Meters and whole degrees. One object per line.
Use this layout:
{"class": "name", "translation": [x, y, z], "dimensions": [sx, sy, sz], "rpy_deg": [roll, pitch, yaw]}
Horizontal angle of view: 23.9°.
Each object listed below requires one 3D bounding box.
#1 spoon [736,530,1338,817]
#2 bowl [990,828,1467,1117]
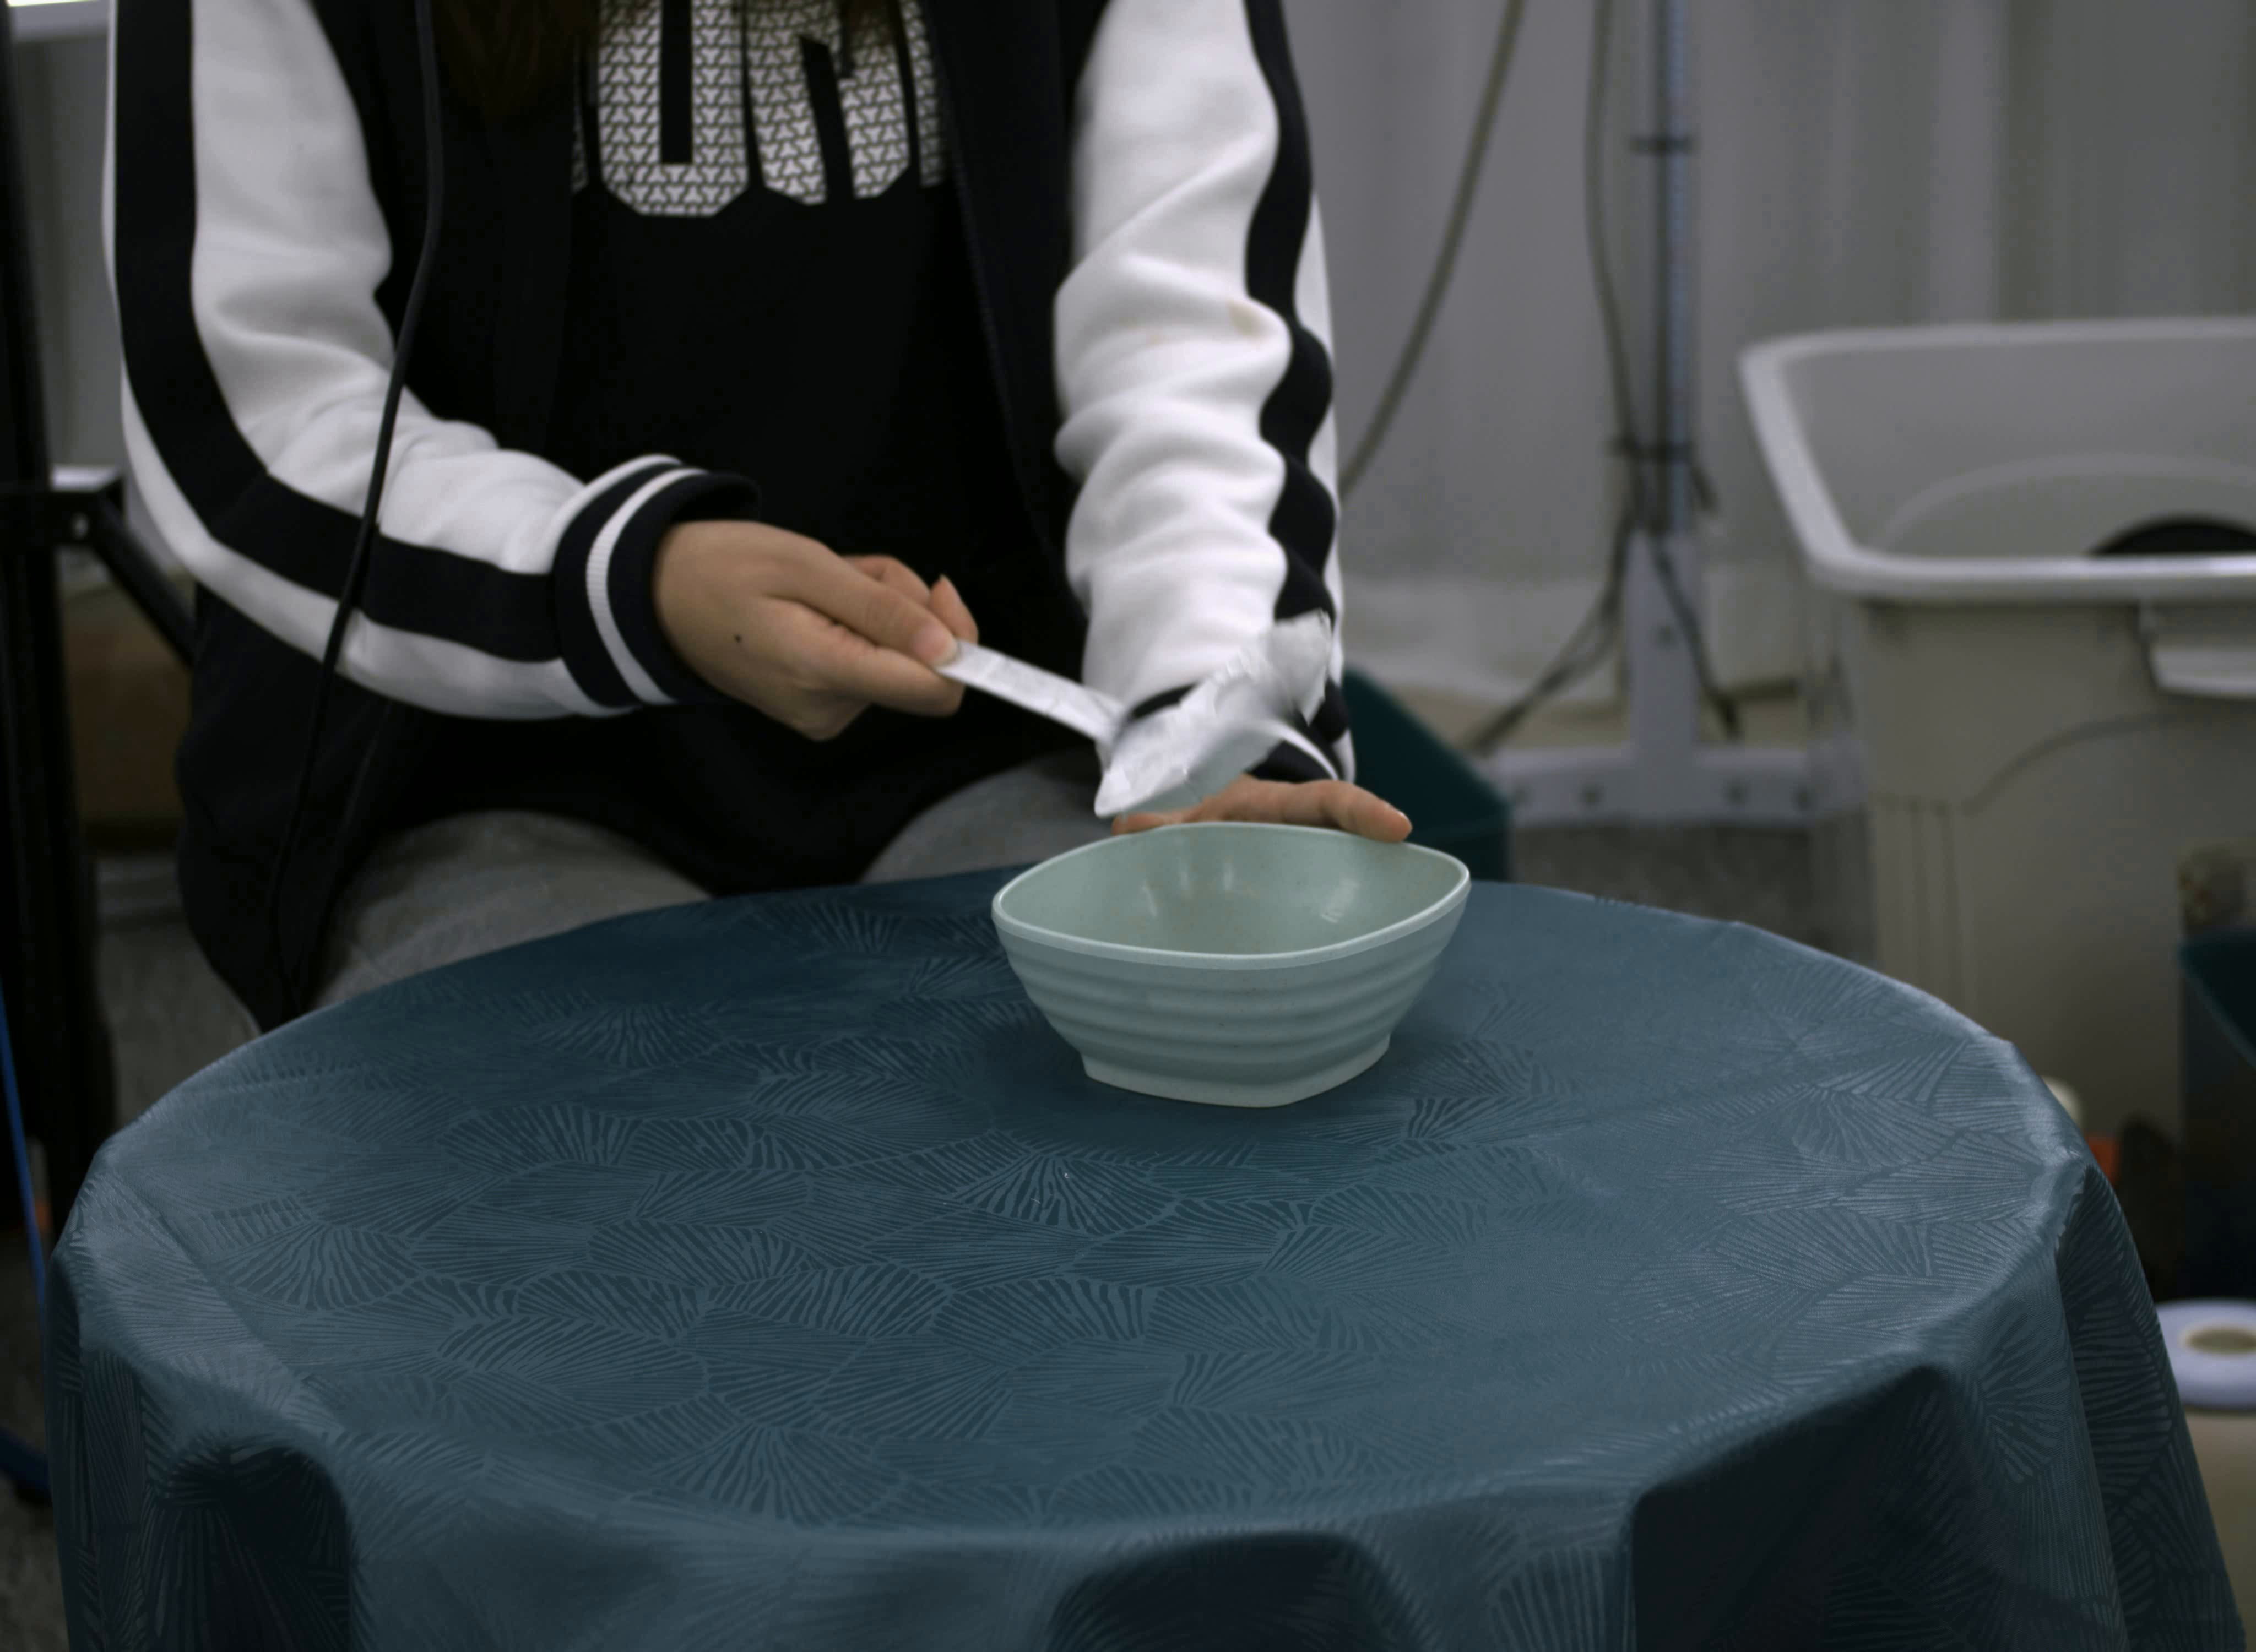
{"class": "spoon", "translation": [-0.039, -0.069, 1.715], "dimensions": [0.099, 0.058, 0.284], "rpy_deg": [-39, 44, -25]}
{"class": "bowl", "translation": [0.033, 0.049, 1.665], "dimensions": [0.150, 0.058, 0.152], "rpy_deg": [-2, 16, -1]}
